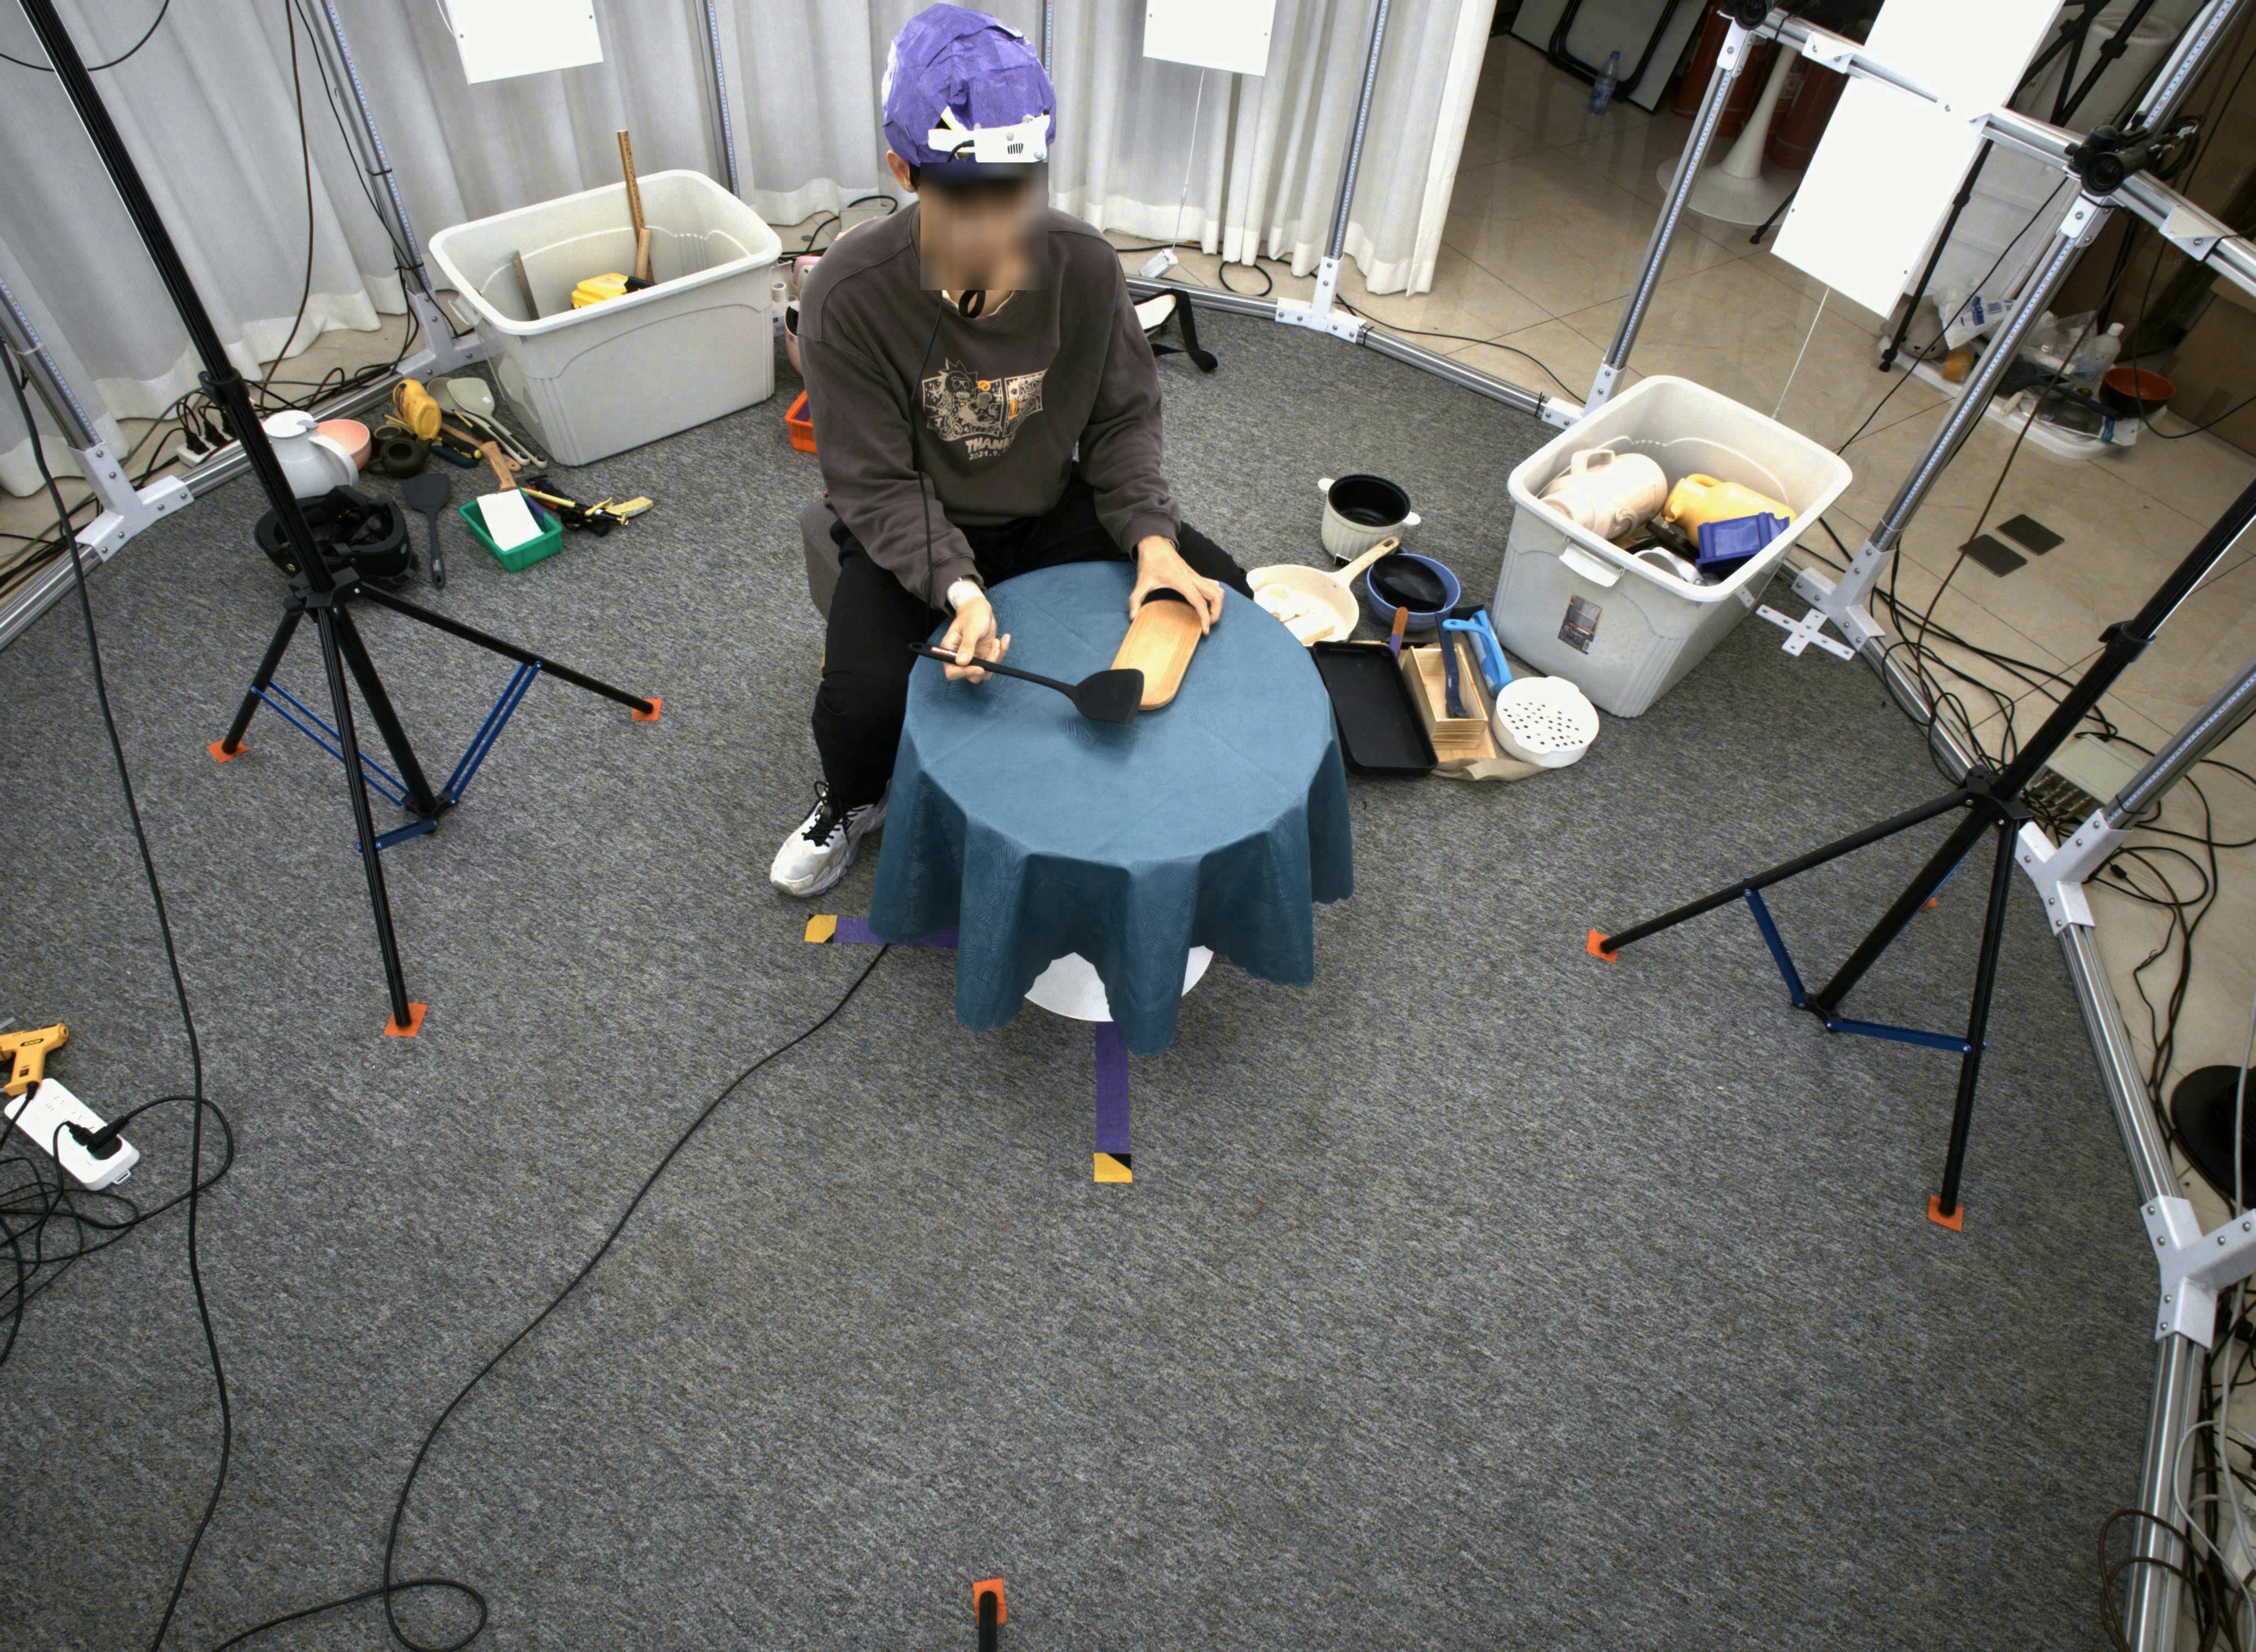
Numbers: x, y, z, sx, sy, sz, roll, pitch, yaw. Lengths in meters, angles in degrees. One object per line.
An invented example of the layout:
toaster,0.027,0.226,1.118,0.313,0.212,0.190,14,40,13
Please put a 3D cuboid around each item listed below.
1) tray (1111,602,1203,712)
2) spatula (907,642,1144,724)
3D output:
tray,0.041,-0.249,1.874,0.102,0.020,0.236,14,51,10
spatula,-0.141,-0.210,1.757,0.325,0.039,0.102,16,53,-4
